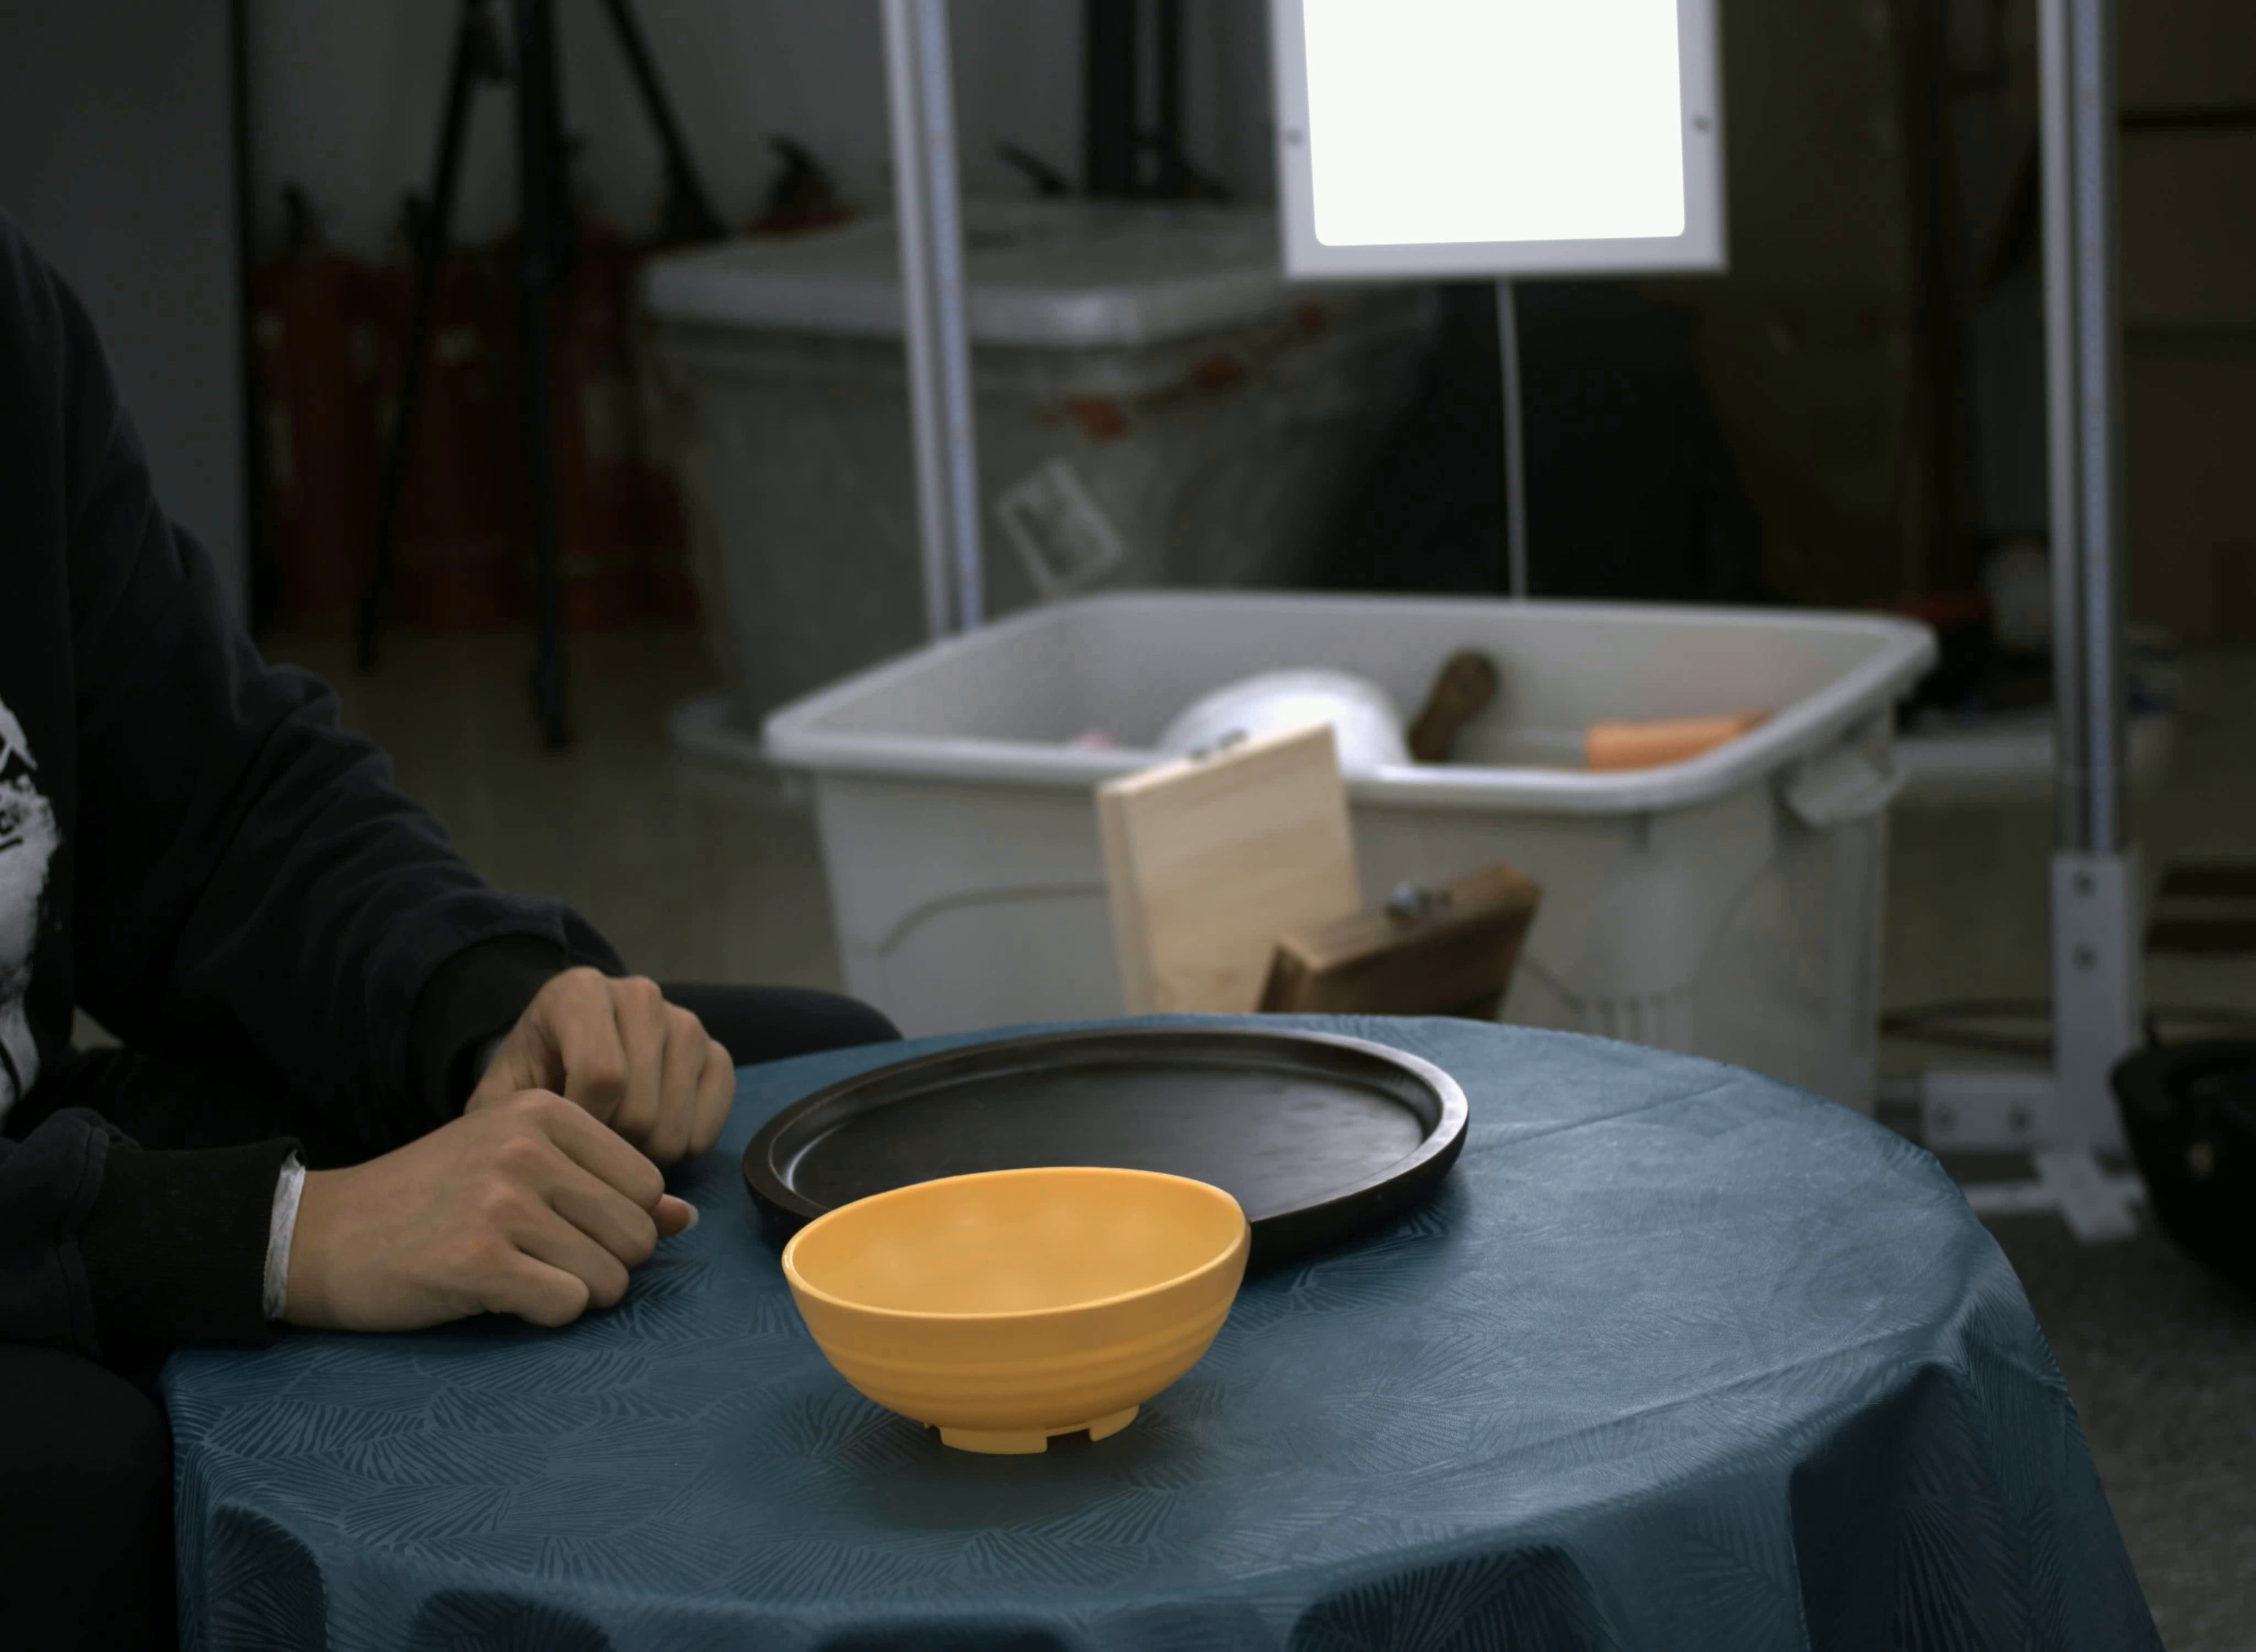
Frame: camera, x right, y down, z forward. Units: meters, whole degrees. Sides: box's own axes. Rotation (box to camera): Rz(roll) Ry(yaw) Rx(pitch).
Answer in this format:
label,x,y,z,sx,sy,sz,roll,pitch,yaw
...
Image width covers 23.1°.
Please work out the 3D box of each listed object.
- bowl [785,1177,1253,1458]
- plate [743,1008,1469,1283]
label,x,y,z,sx,sy,sz,roll,pitch,yaw
bowl,-0.030,0.154,1.678,0.145,0.060,0.145,-6,12,0
plate,-0.007,0.114,1.905,0.254,0.029,0.254,-6,15,0
